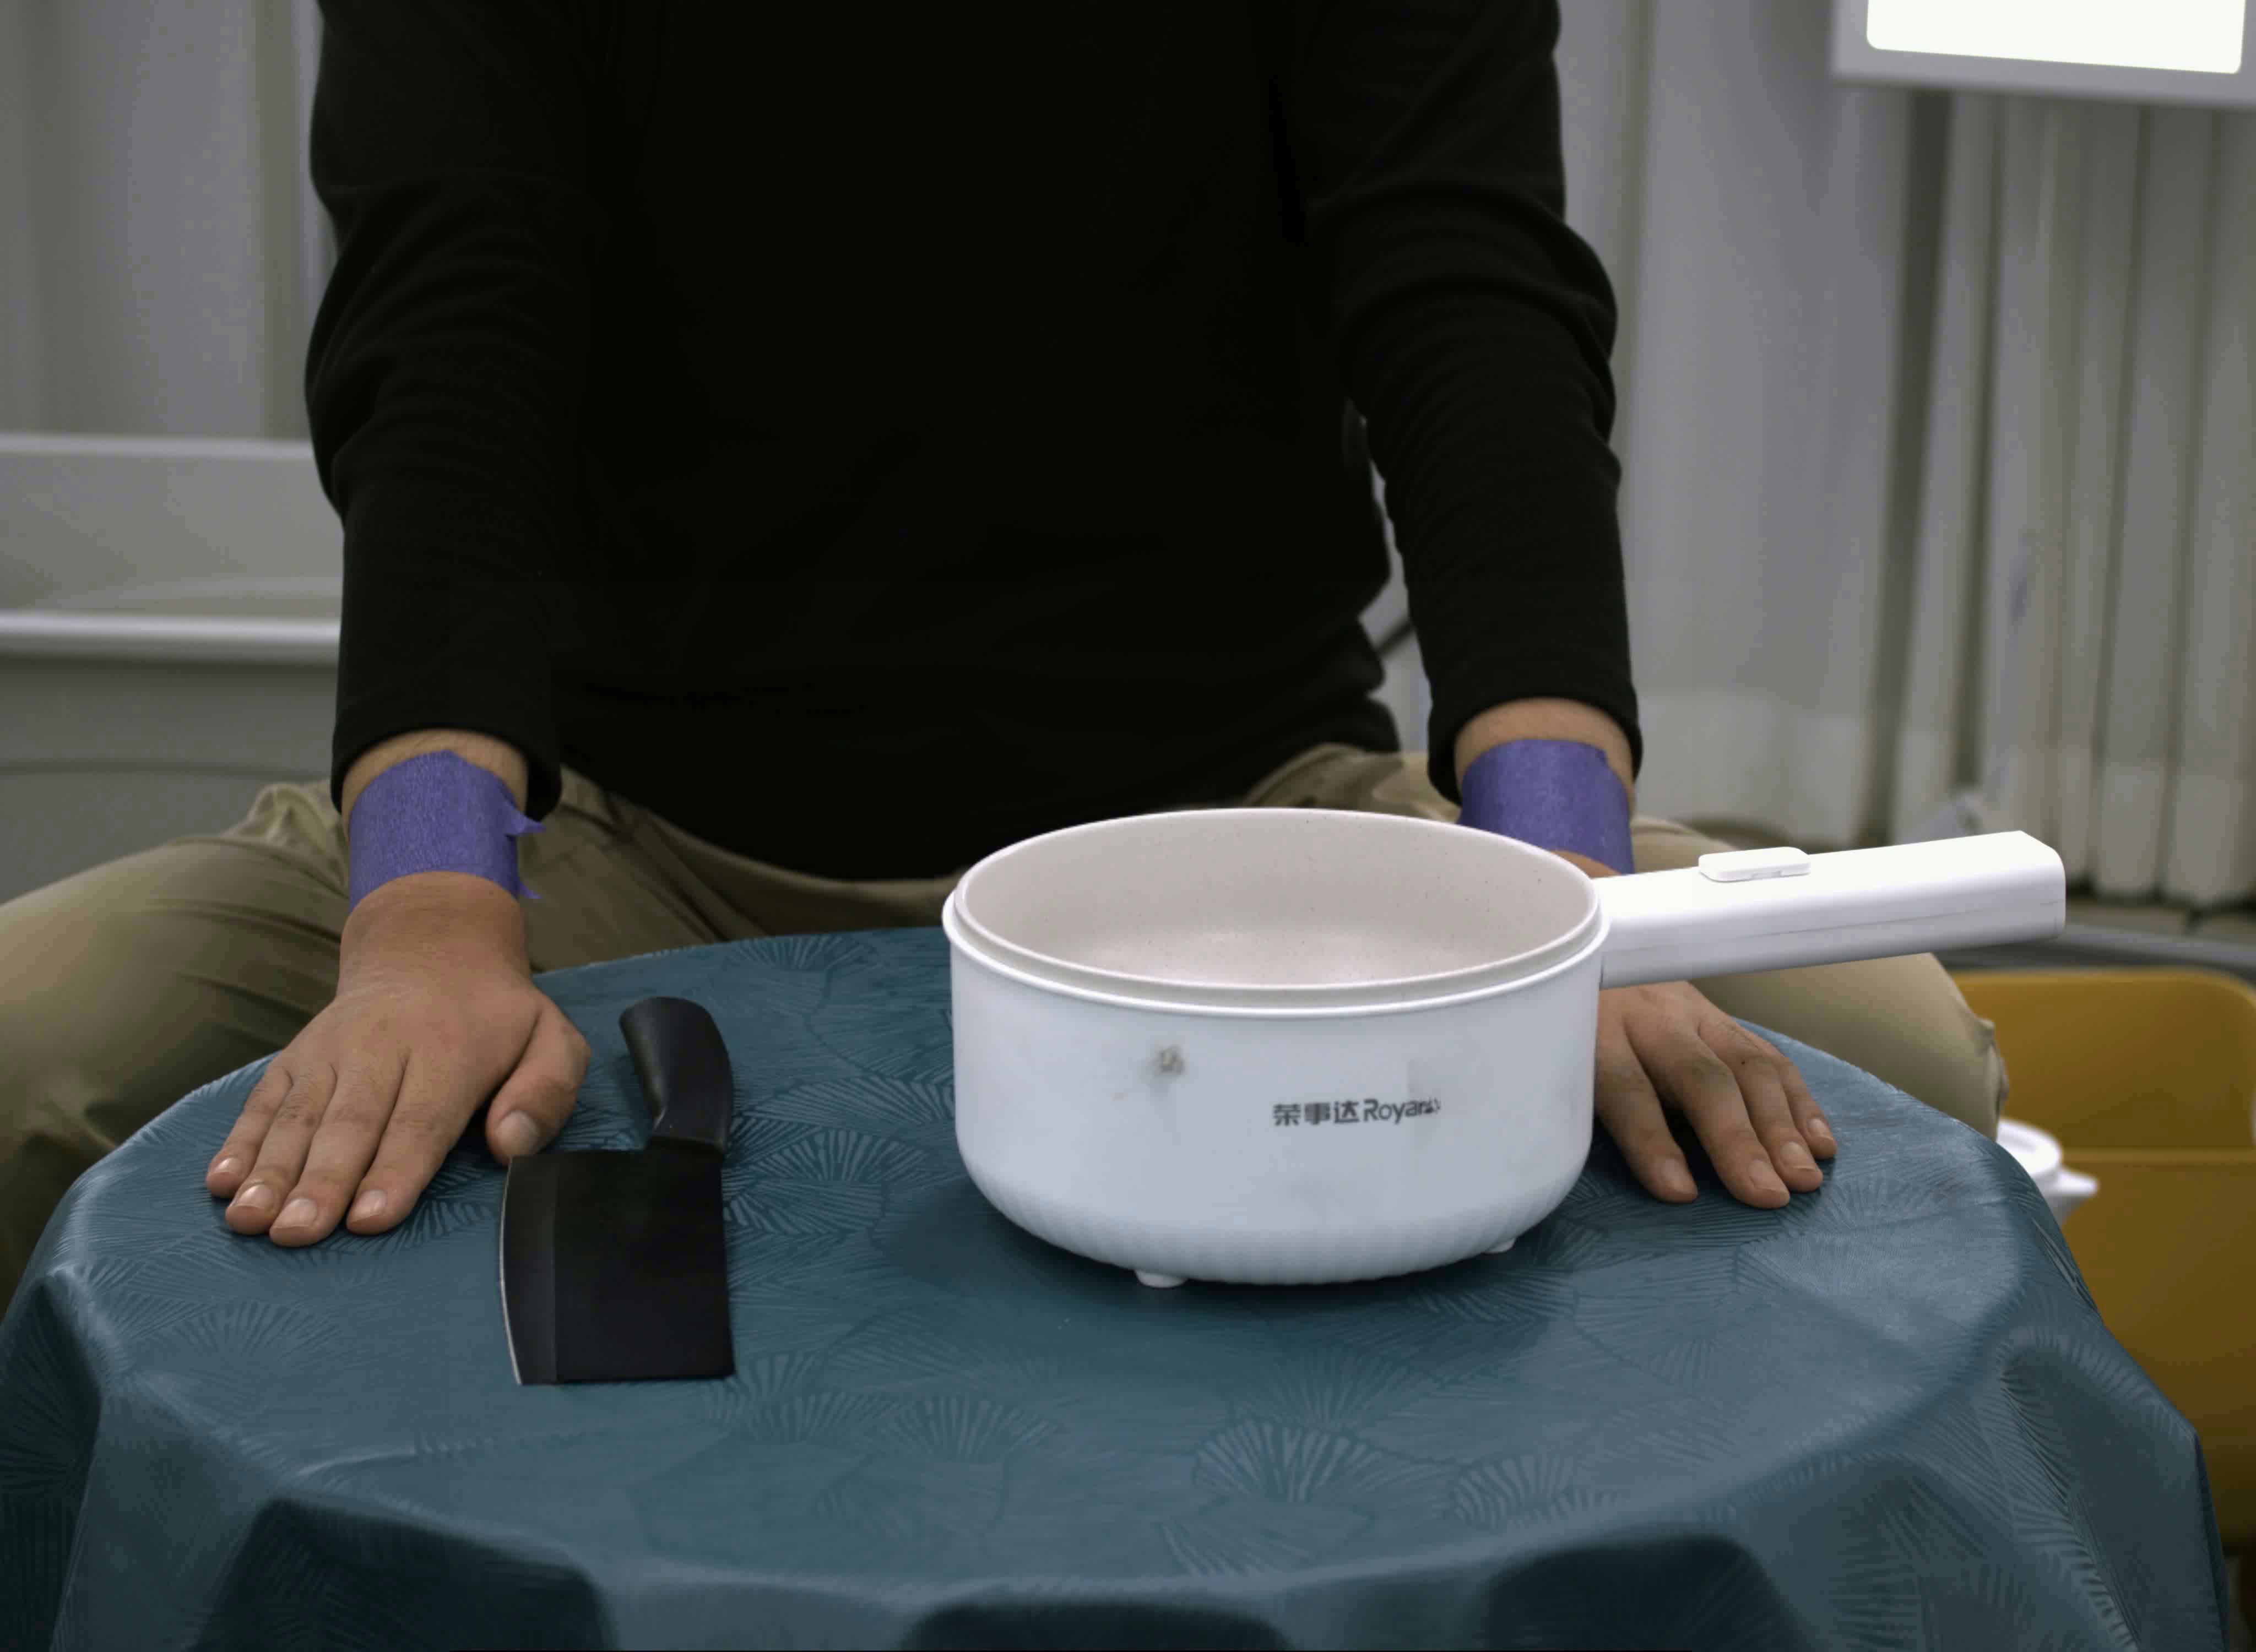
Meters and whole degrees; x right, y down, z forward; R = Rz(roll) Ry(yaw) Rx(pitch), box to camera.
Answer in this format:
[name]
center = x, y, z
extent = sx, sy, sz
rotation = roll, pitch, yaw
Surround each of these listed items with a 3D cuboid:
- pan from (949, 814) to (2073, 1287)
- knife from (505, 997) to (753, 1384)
[pan]
center = 0.119, 0.065, 1.617
extent = 0.355, 0.103, 0.199
rotation = -3, 15, -17
[knife]
center = -0.150, 0.109, 1.604
extent = 0.080, 0.021, 0.300
rotation = -1, 18, 0
